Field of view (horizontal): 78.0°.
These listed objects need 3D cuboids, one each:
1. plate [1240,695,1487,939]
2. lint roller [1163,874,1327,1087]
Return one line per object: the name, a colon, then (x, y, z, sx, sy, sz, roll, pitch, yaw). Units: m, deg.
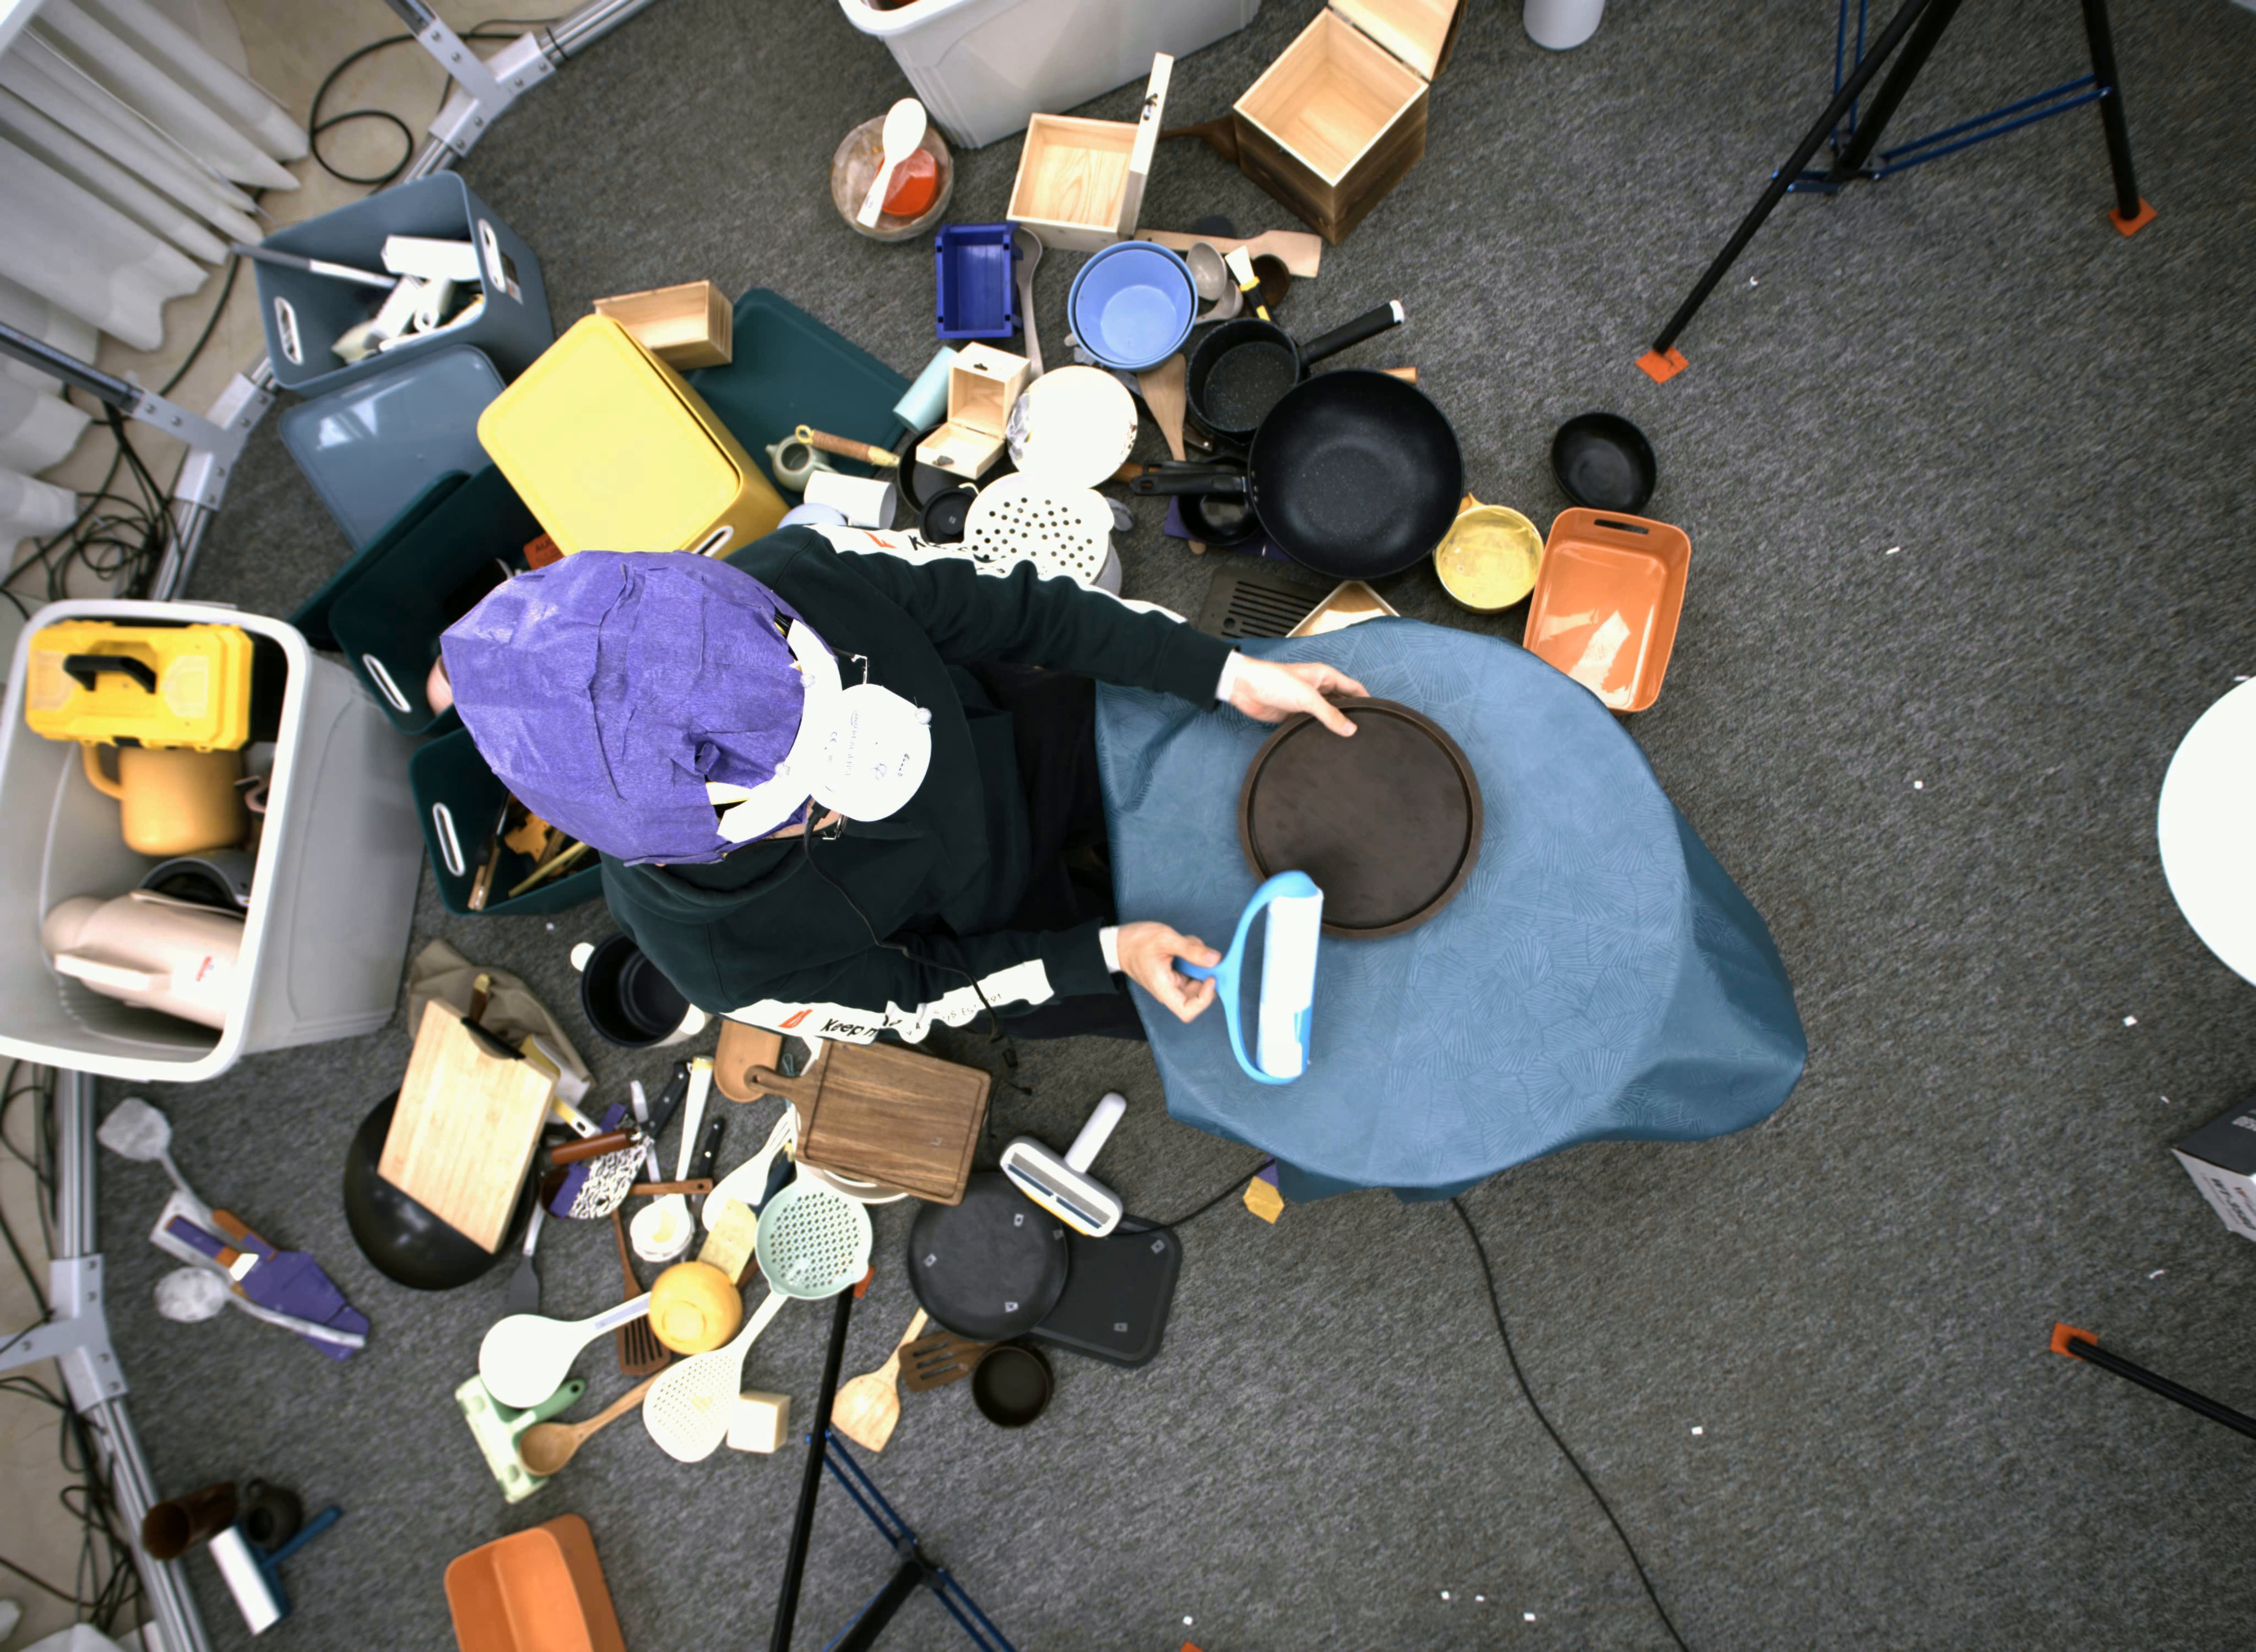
plate: (0.242, -0.010, 1.429, 0.256, 0.029, 0.256, 2, 99, 12)
lint roller: (0.109, 0.150, 1.409, 0.181, 0.066, 0.232, 8, 112, 22)
